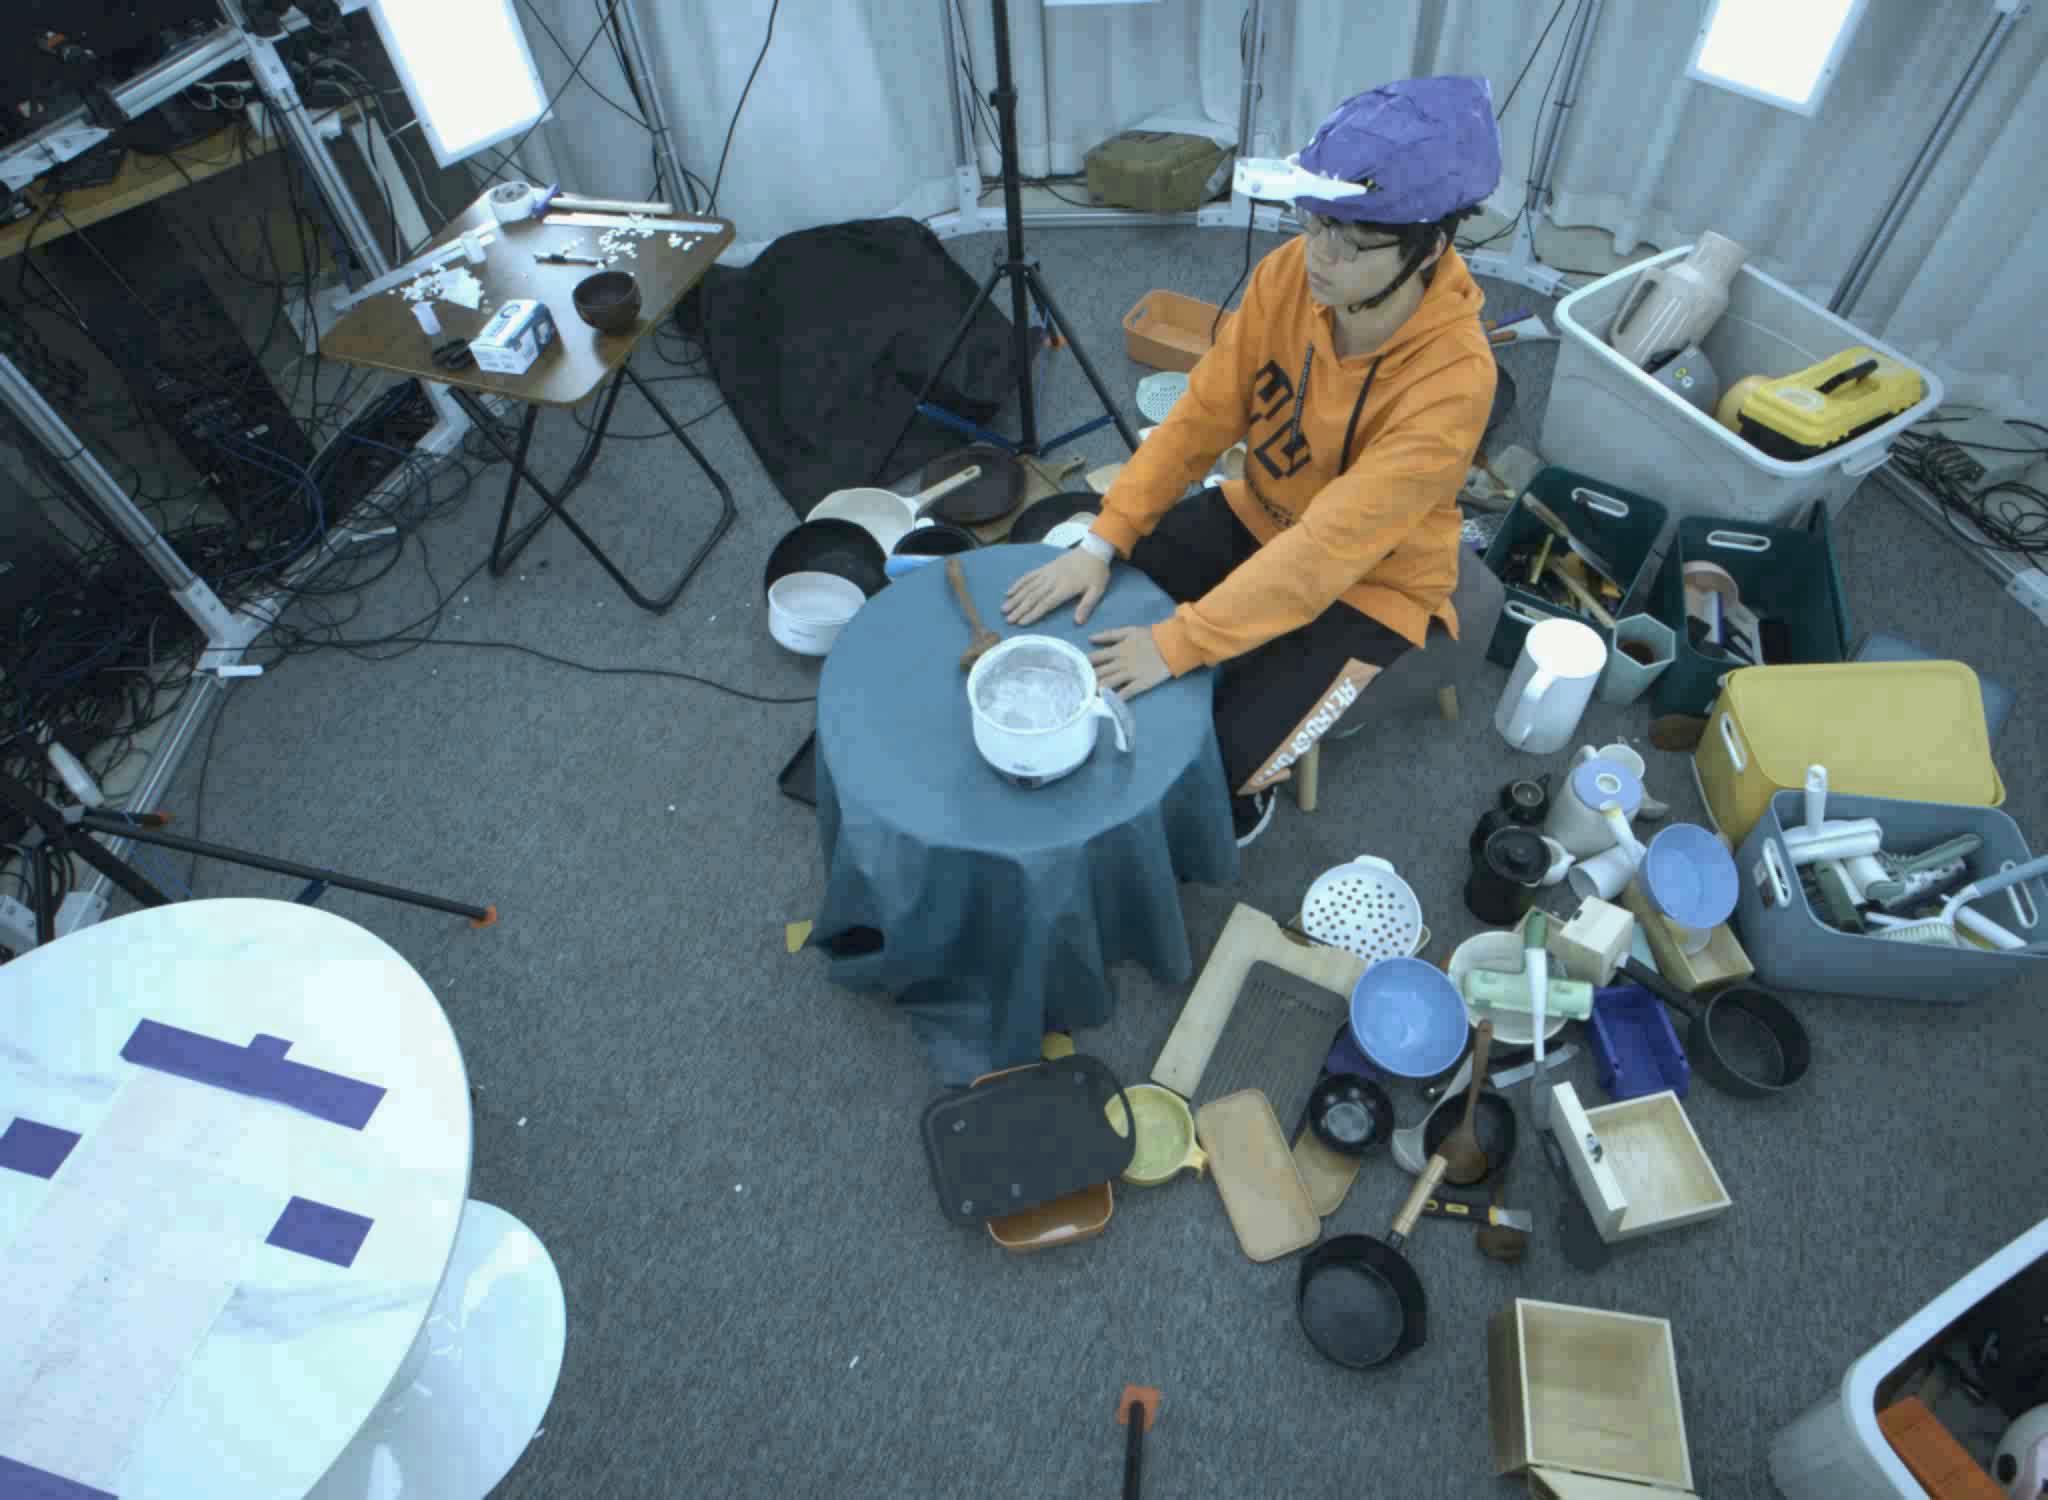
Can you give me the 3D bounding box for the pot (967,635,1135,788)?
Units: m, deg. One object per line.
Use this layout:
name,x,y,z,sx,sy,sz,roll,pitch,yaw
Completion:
pot,0.041,-0.051,1.736,0.232,0.138,0.177,5,56,7

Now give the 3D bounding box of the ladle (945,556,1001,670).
ladle,-0.095,-0.226,1.913,0.076,0.066,0.256,-30,55,14
